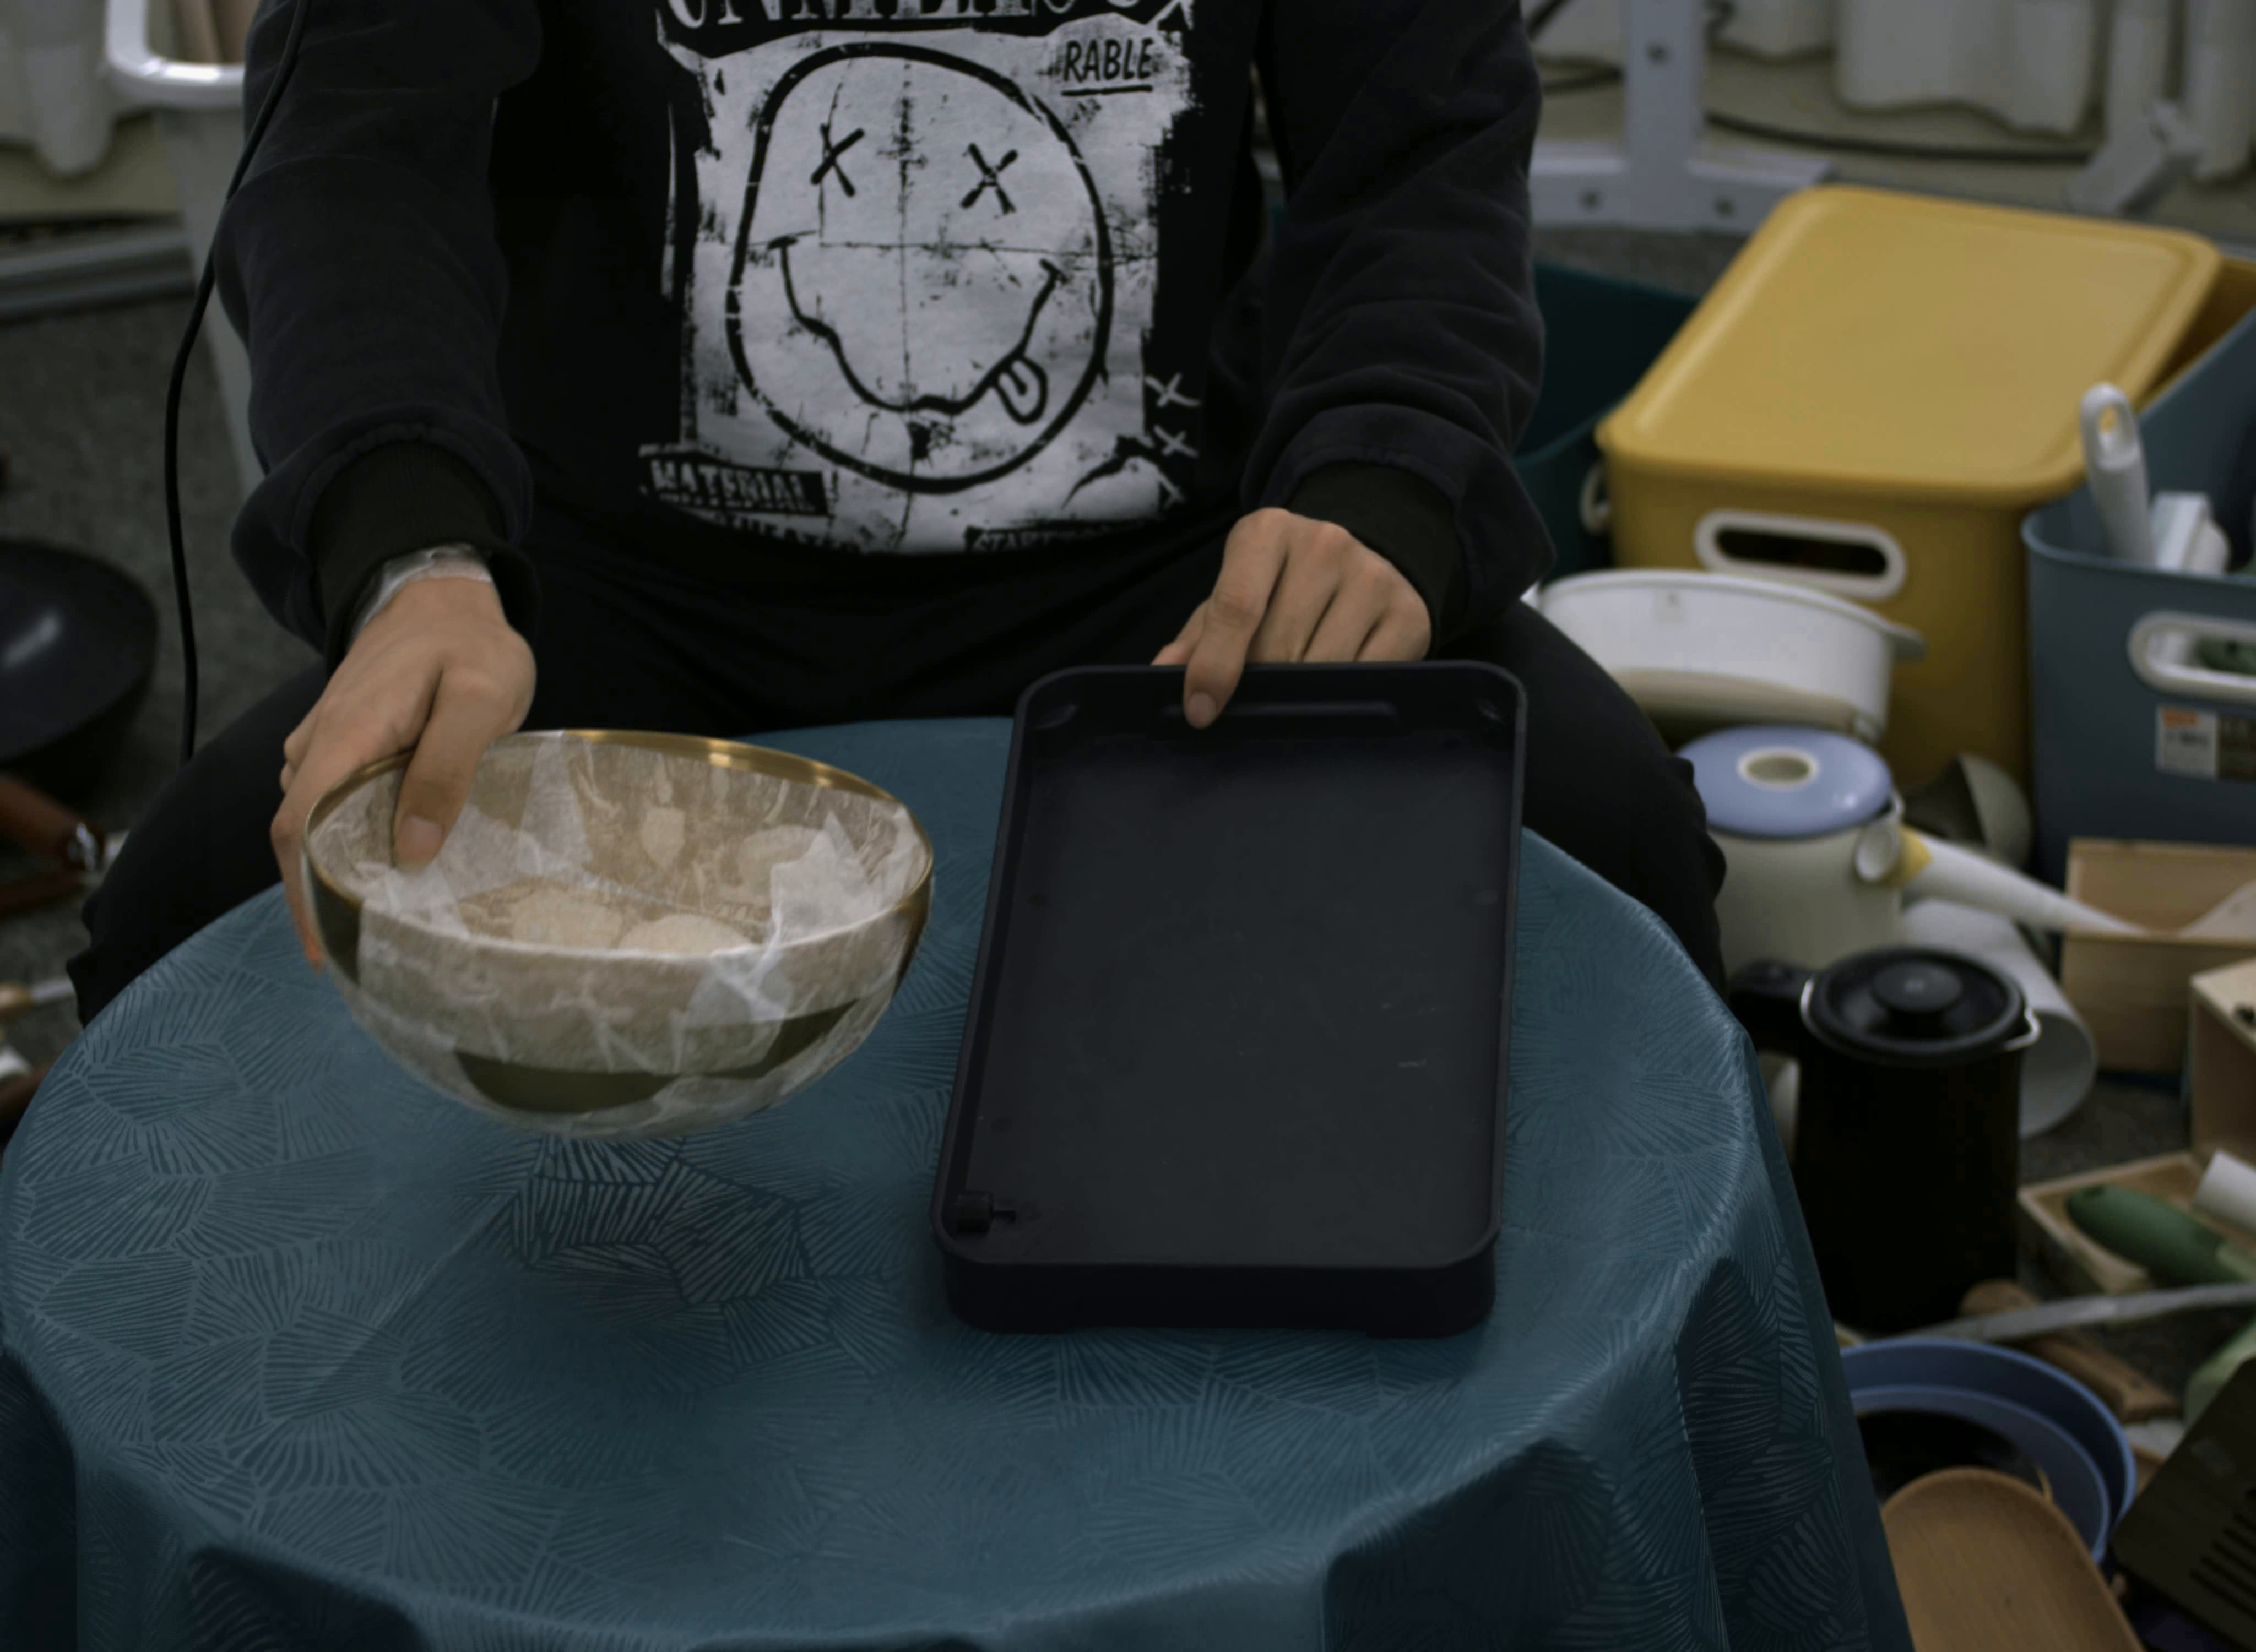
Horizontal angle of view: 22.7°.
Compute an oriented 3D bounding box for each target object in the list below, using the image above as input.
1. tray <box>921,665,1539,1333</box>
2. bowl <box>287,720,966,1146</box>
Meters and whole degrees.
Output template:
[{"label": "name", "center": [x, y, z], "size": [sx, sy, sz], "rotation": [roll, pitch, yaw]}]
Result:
[{"label": "tray", "center": [0.041, 0.053, 1.893], "size": [0.183, 0.036, 0.324], "rotation": [-1, 36, 8]}, {"label": "bowl", "center": [-0.161, 0.045, 1.786], "size": [0.214, 0.094, 0.217], "rotation": [3, 20, 0]}]
